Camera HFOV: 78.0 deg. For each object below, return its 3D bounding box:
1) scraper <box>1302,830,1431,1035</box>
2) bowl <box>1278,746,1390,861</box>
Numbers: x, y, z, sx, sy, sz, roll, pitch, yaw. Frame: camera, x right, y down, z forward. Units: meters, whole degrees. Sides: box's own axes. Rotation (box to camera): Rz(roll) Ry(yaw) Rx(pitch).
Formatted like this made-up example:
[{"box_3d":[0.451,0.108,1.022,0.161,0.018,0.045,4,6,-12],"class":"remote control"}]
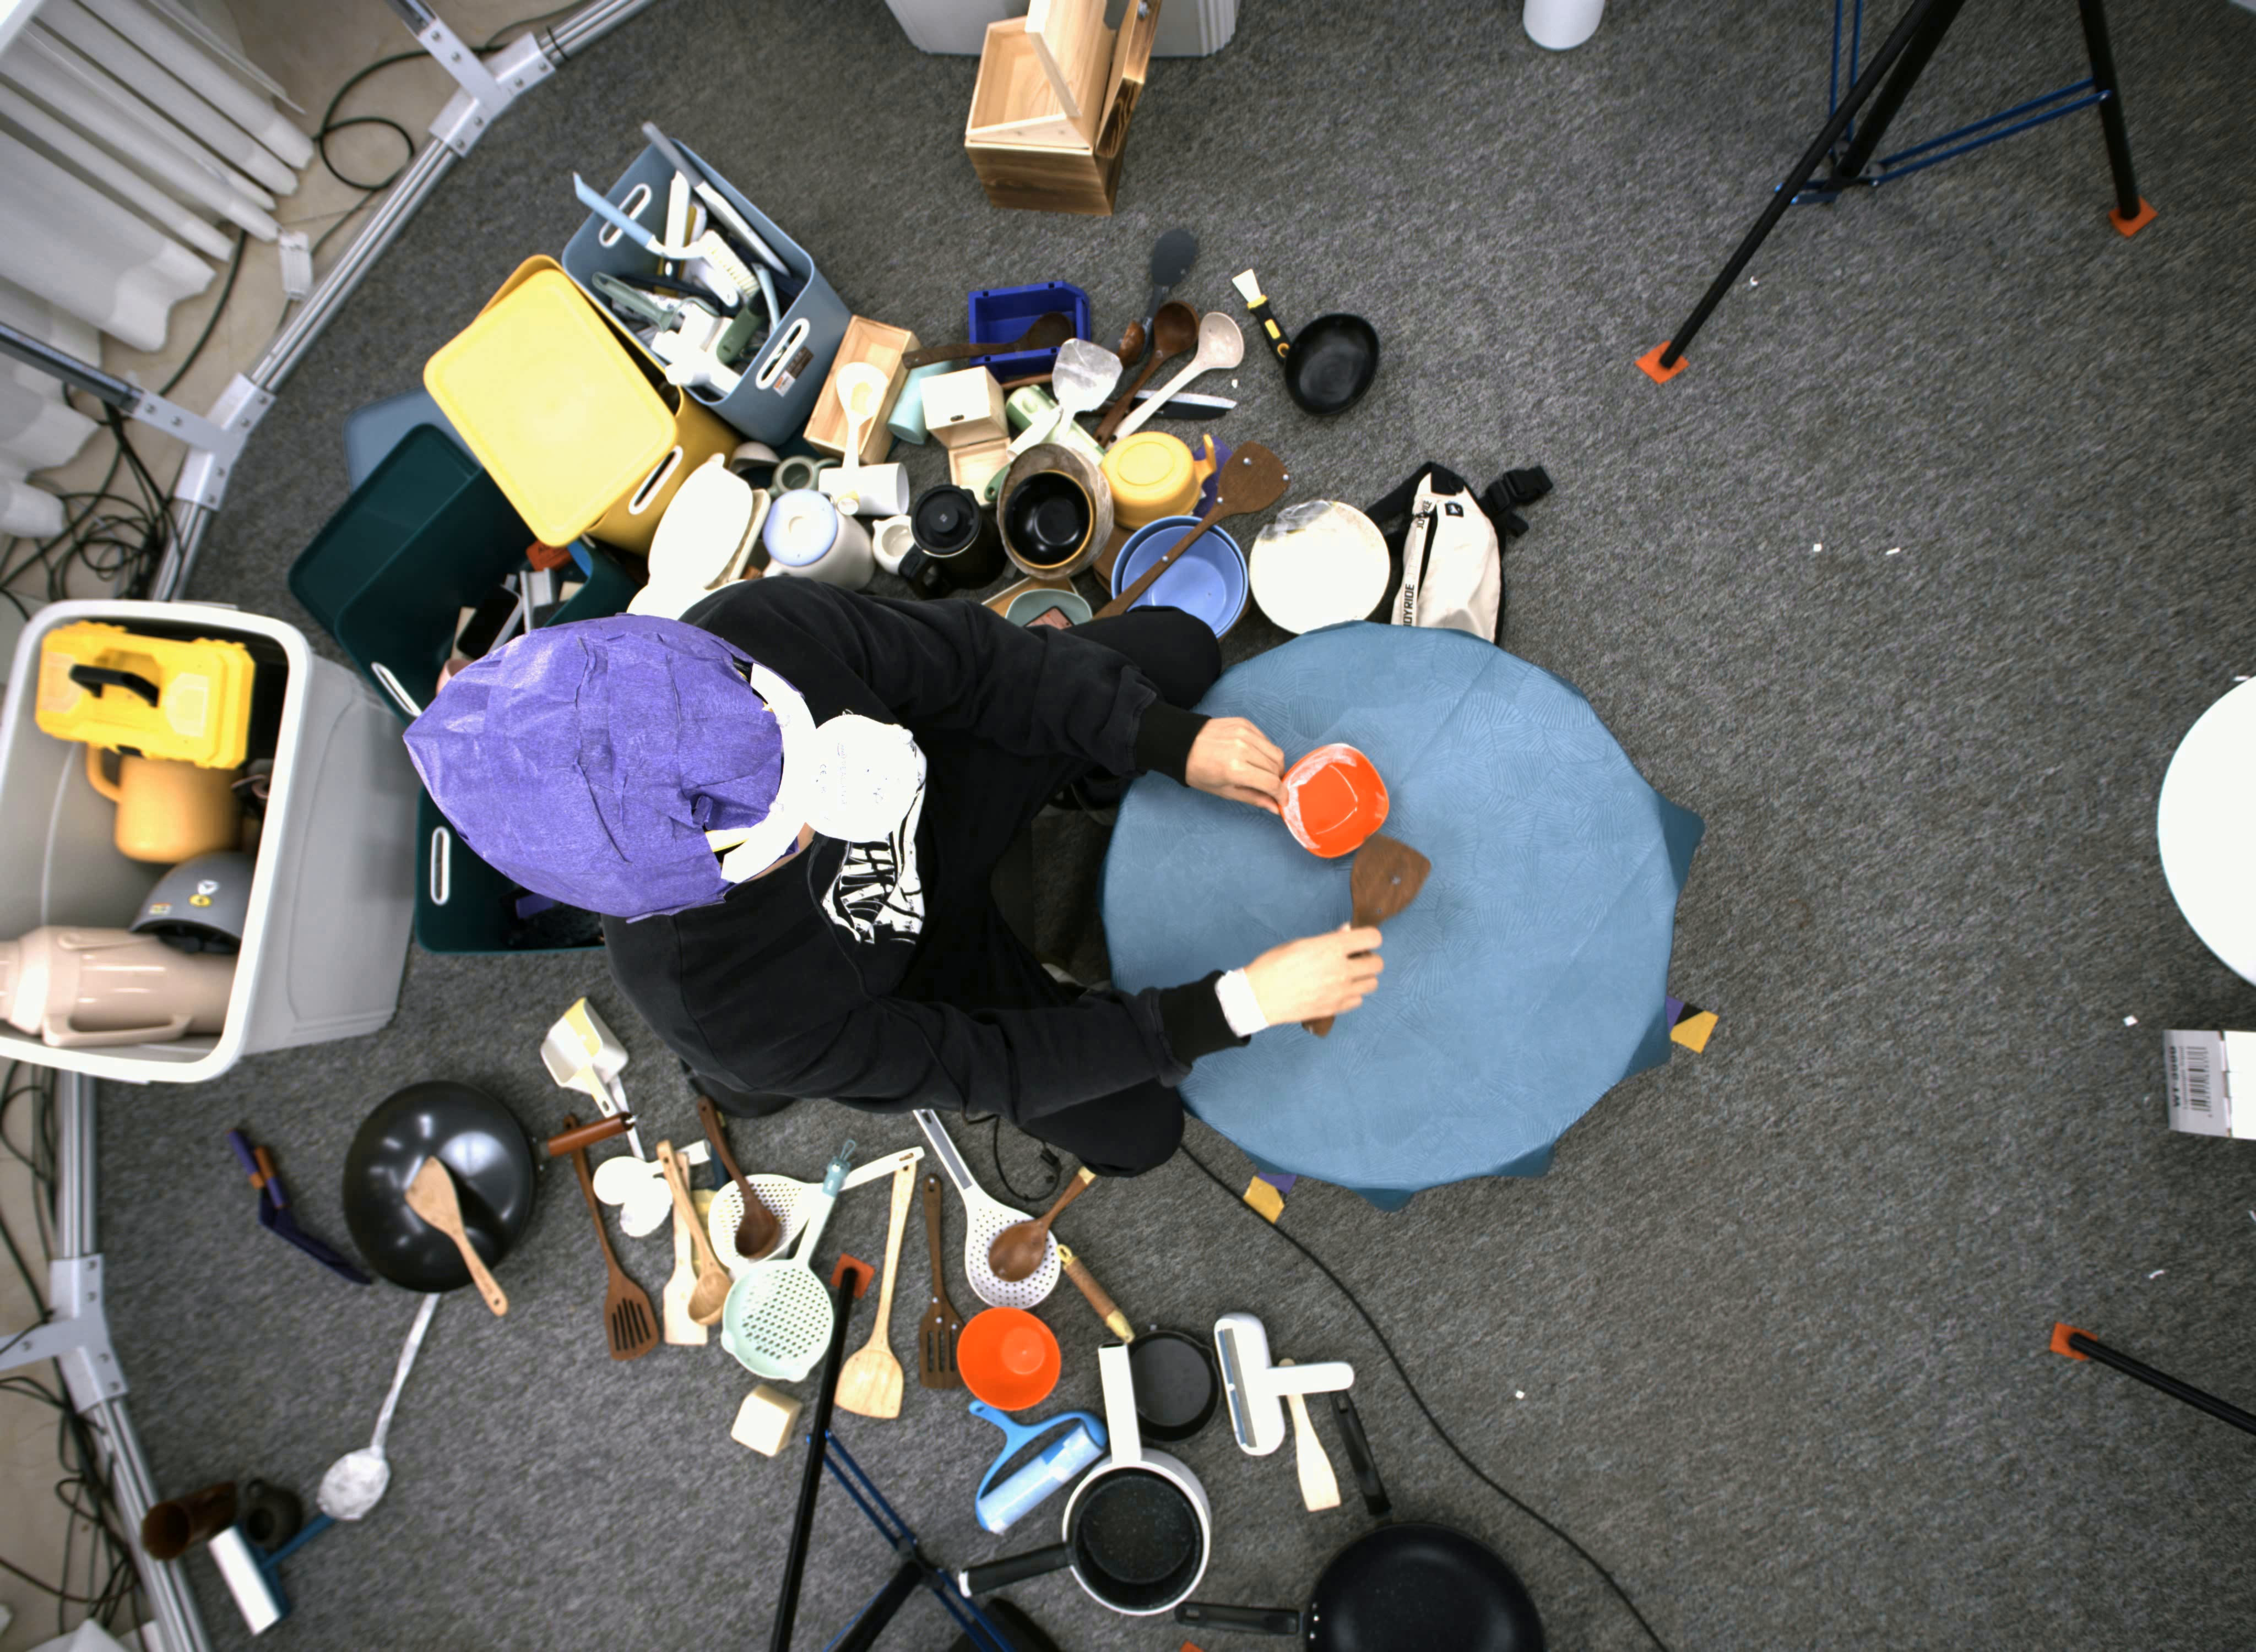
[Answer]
[{"box_3d":[0.225,0.105,1.354,0.076,0.011,0.209,28,81,-2],"class":"scraper"},{"box_3d":[0.210,-0.026,1.448,0.119,0.051,0.119,-1,96,-7],"class":"bowl"}]
